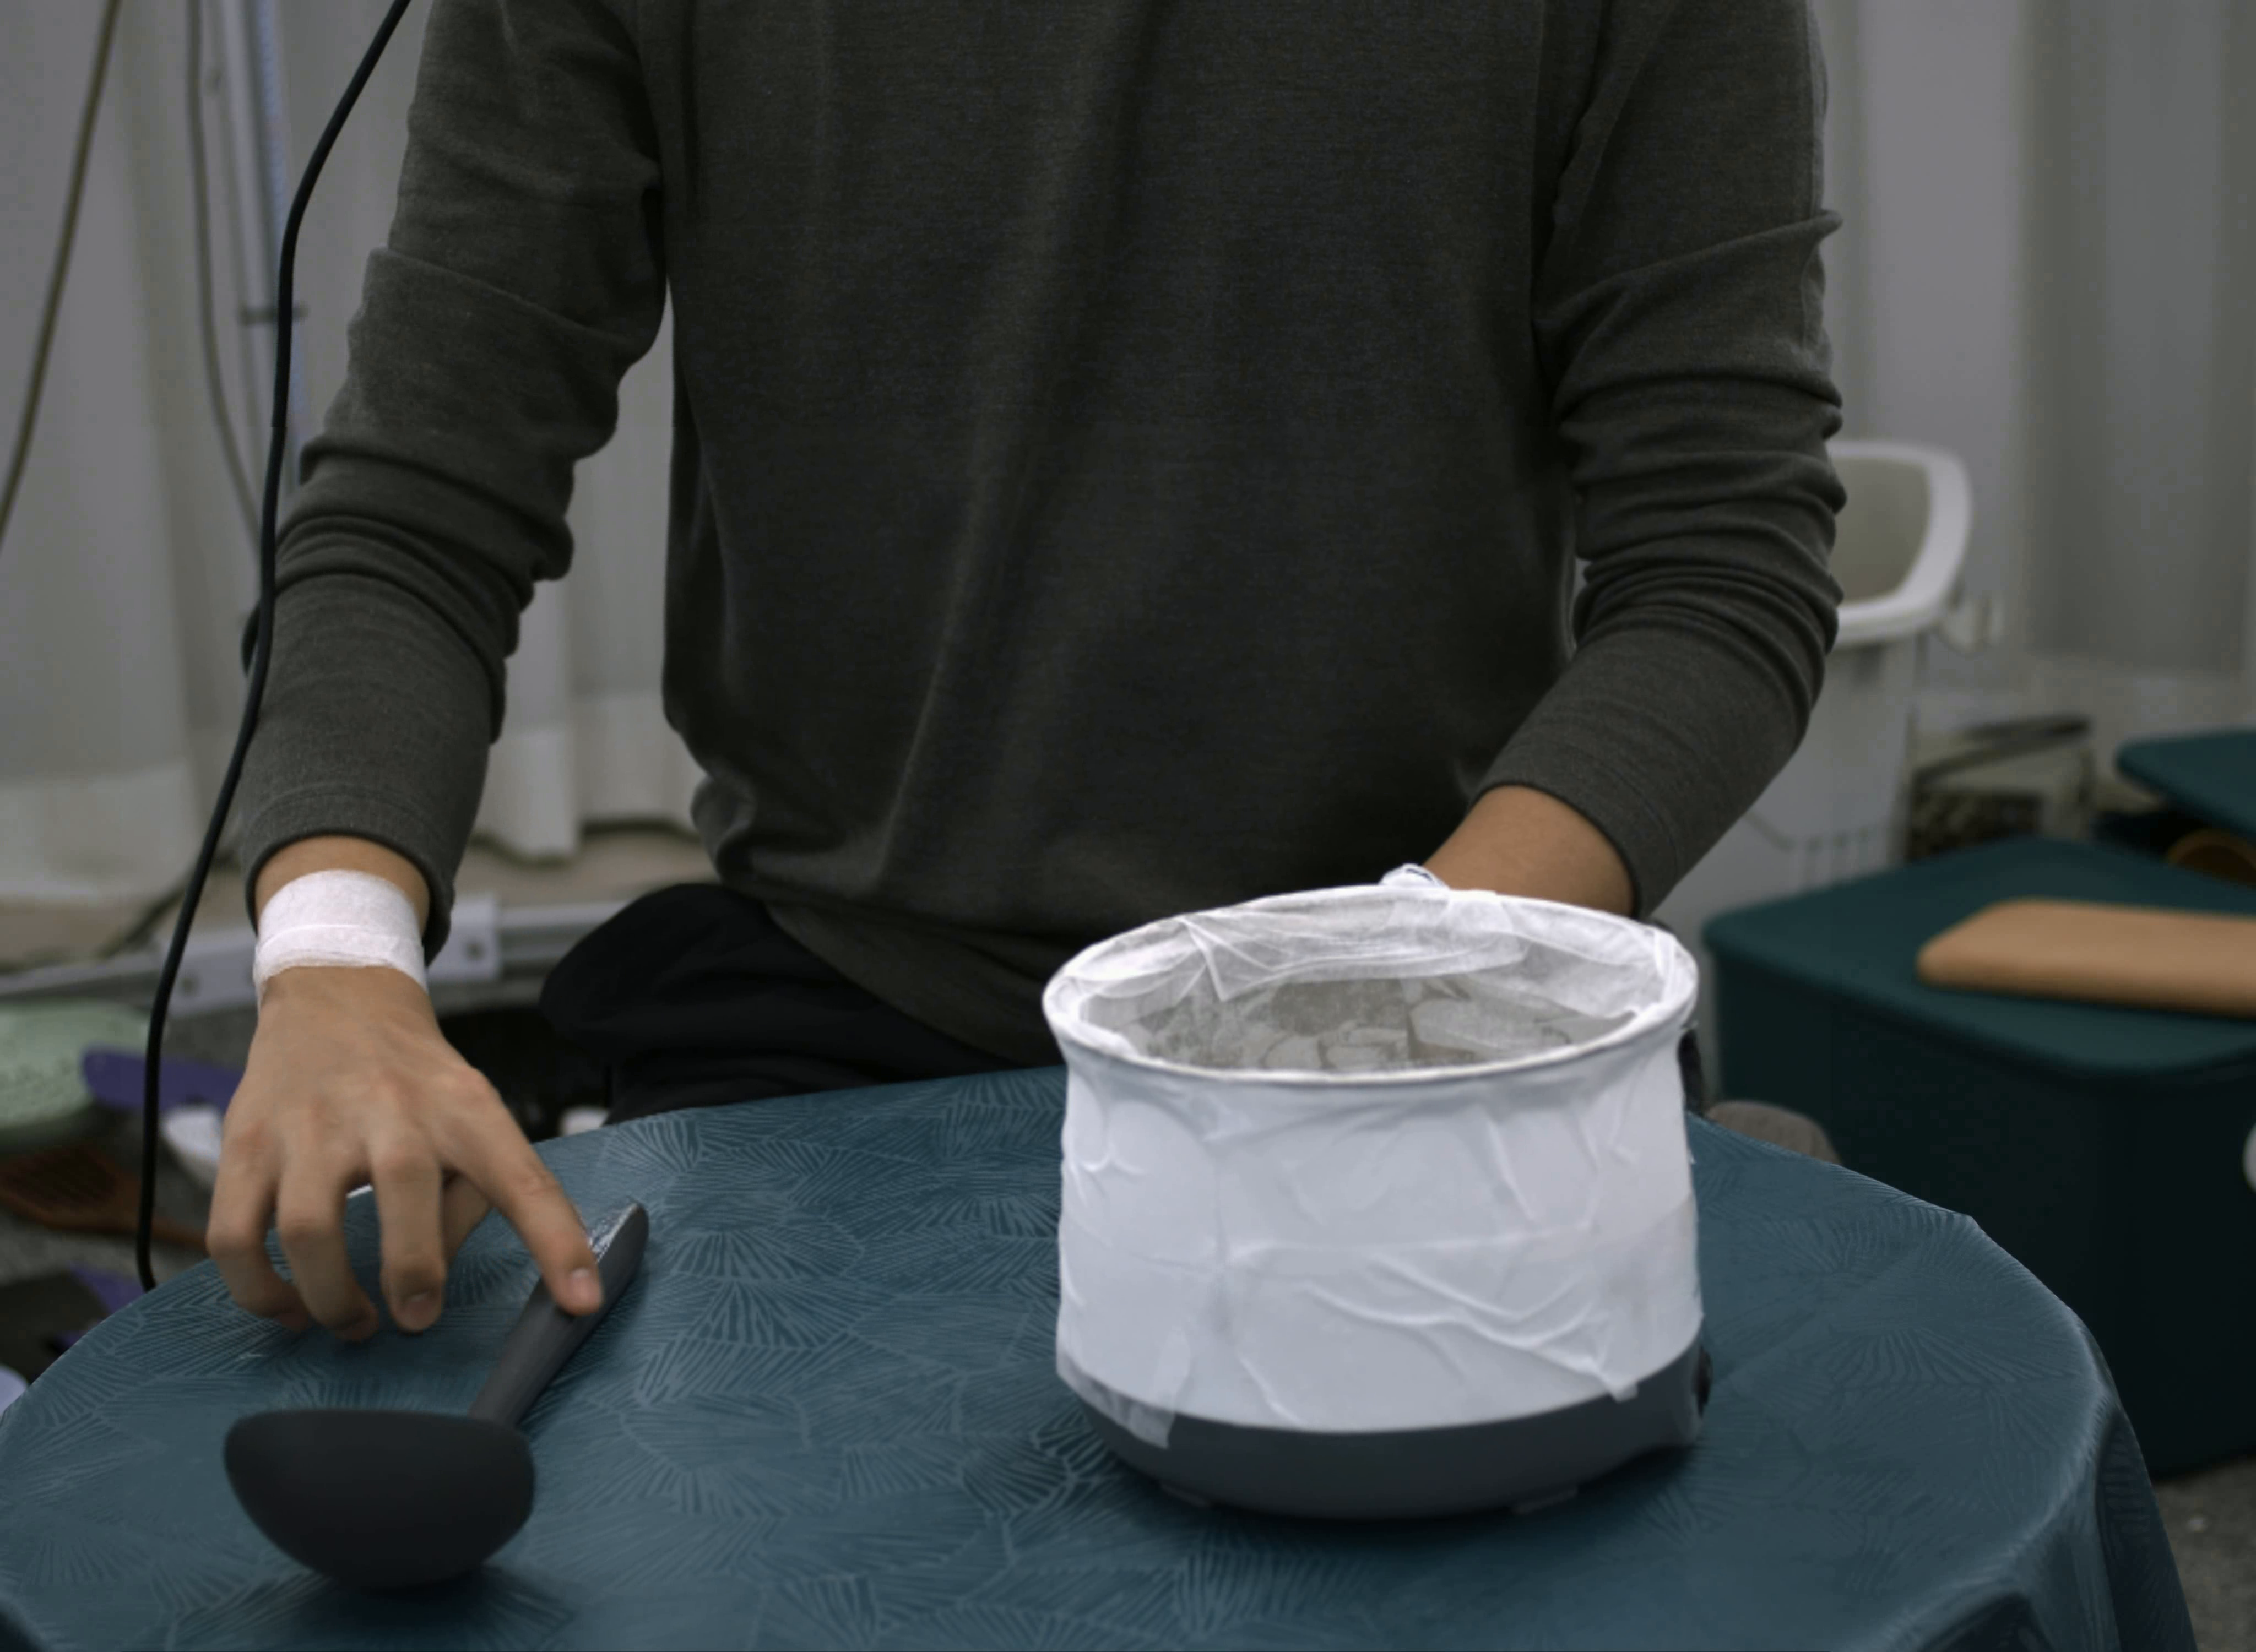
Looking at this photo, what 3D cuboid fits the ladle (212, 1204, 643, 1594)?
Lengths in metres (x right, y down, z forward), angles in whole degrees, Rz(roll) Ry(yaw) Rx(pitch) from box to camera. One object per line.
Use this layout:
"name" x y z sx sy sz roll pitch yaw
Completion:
"ladle" -0.176 0.140 1.534 0.086 0.063 0.316 5 16 7

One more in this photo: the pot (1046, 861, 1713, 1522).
"pot" 0.072 0.095 1.512 0.178 0.136 0.235 0 15 9
